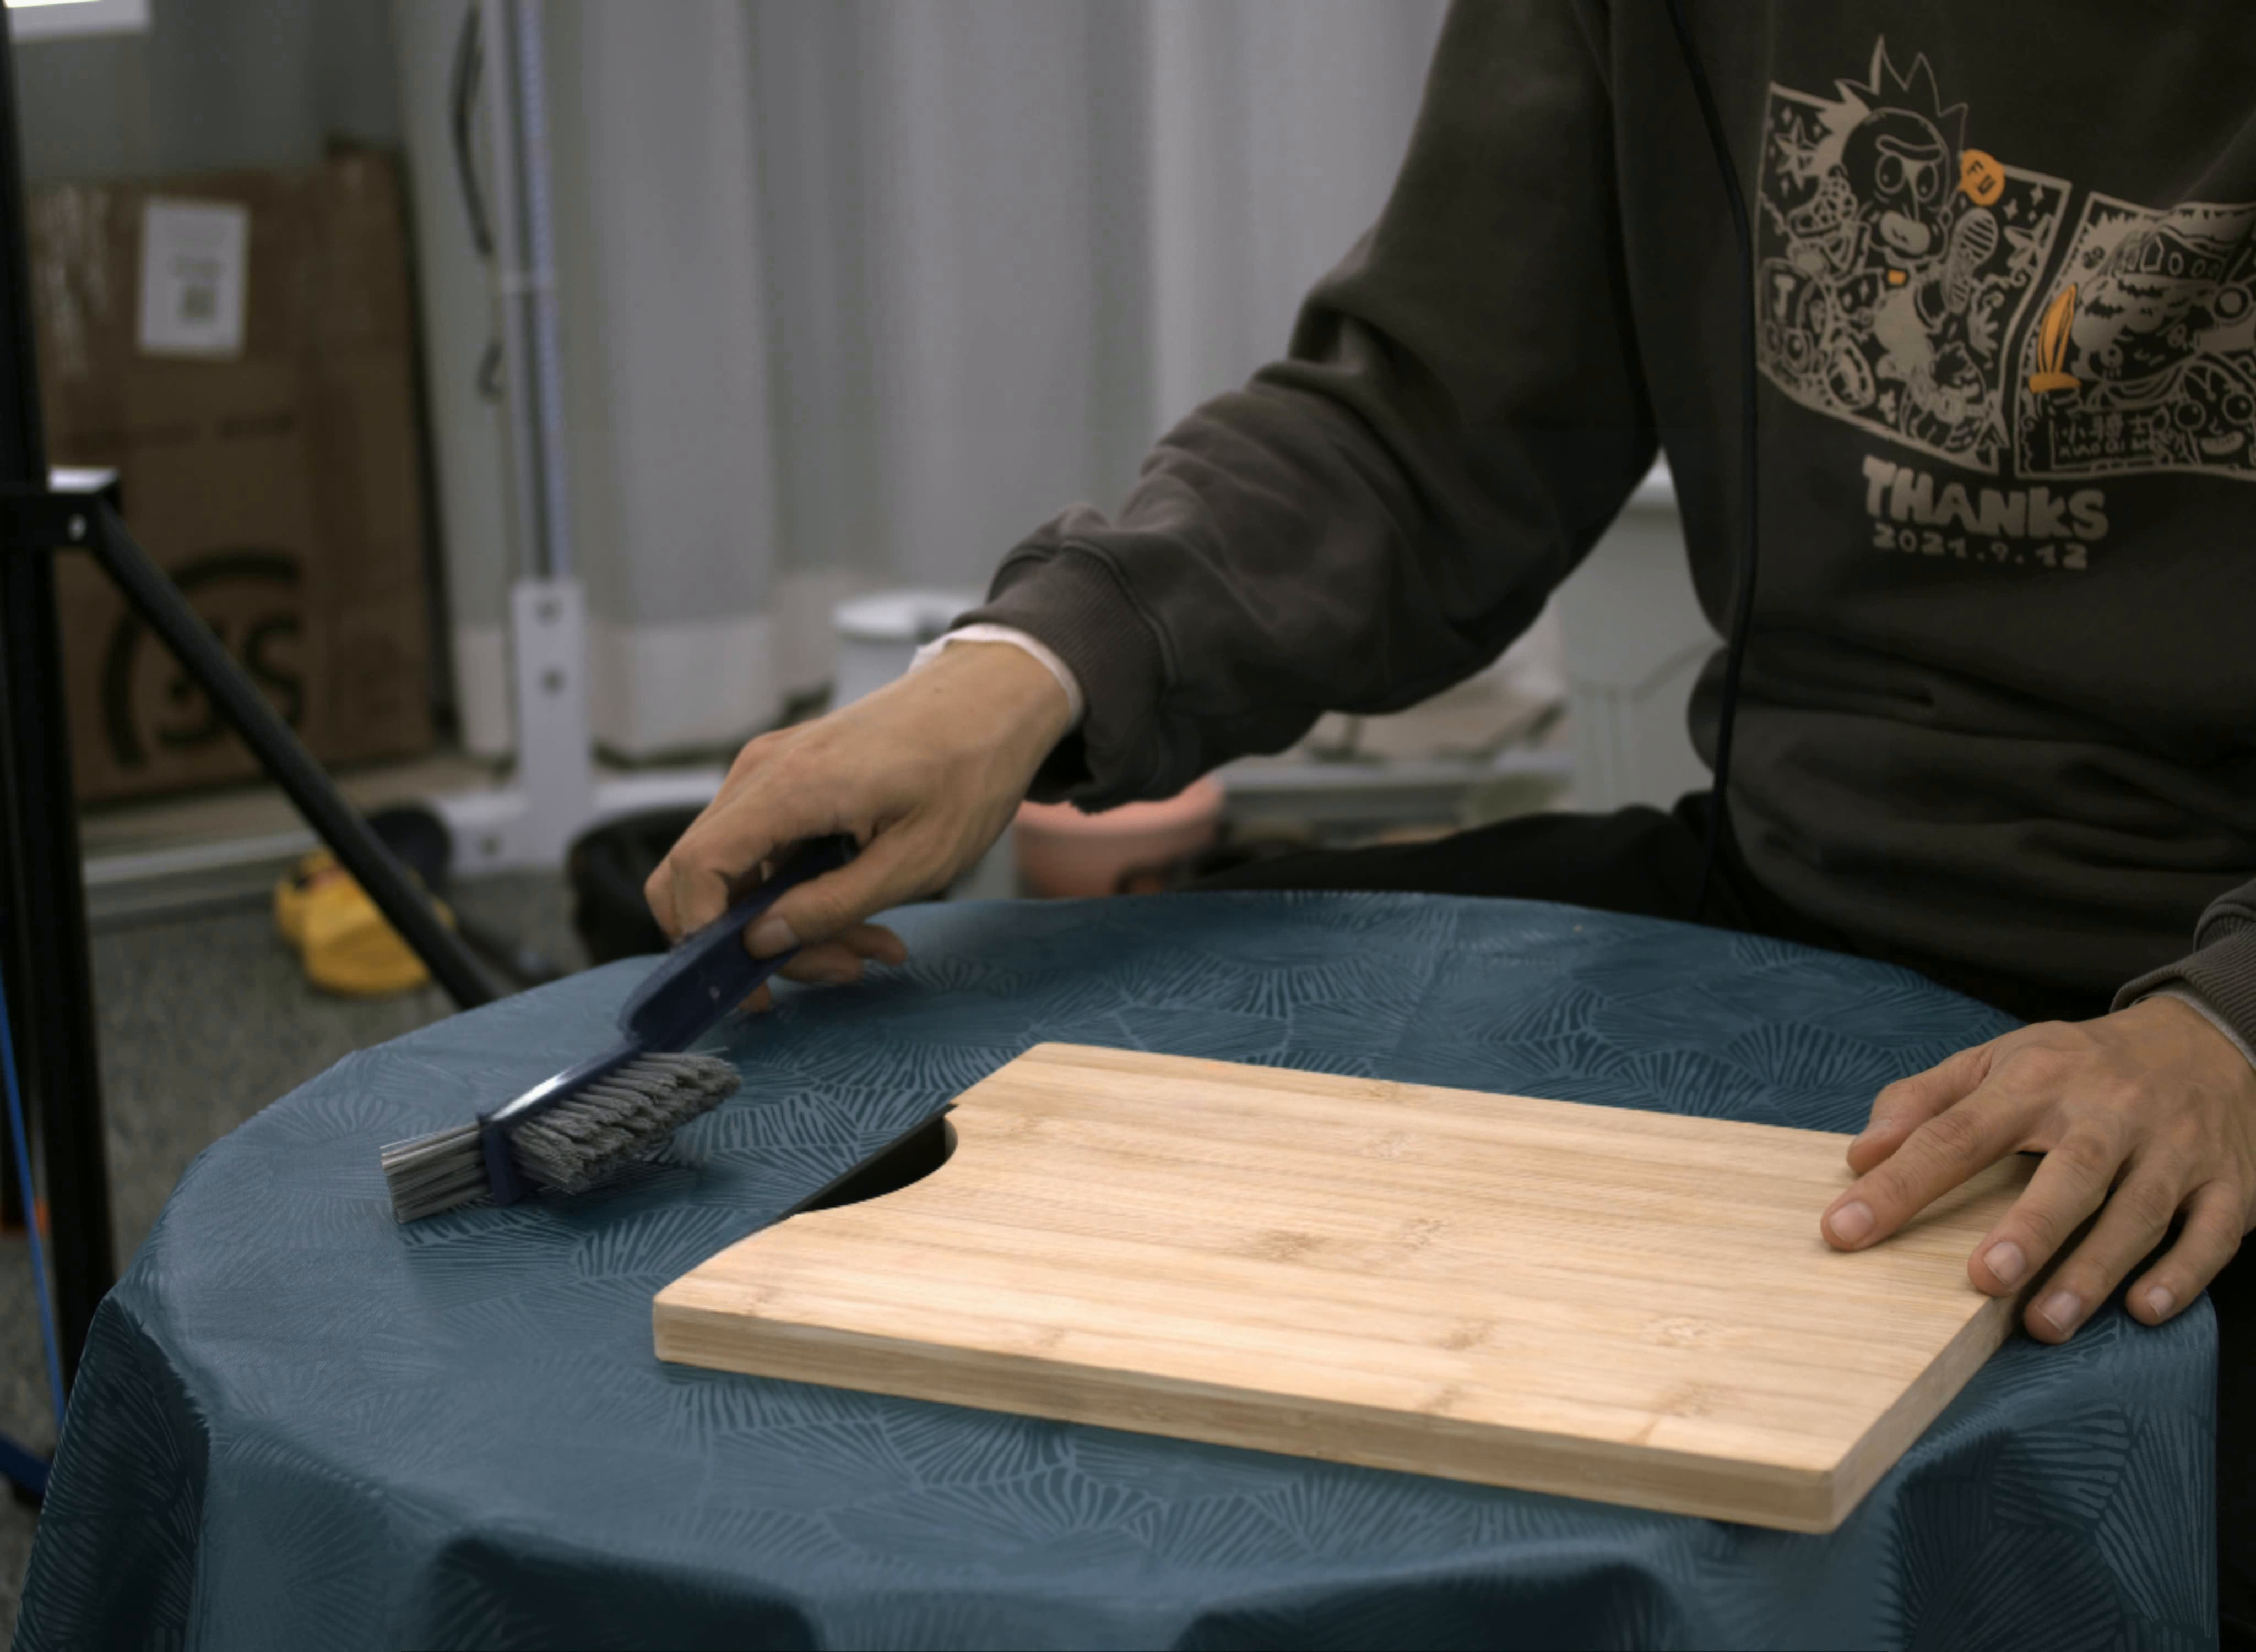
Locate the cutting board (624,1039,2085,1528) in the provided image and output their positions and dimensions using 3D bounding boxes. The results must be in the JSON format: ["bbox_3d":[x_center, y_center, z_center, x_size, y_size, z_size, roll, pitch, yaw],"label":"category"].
[{"bbox_3d":[0.067,0.121,1.475,0.354,0.023,0.247,5,17,26],"label":"cutting board"}]

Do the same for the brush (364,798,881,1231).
[{"bbox_3d":[-0.149,0.056,1.683,0.096,0.033,0.271,-7,19,18],"label":"brush"}]
